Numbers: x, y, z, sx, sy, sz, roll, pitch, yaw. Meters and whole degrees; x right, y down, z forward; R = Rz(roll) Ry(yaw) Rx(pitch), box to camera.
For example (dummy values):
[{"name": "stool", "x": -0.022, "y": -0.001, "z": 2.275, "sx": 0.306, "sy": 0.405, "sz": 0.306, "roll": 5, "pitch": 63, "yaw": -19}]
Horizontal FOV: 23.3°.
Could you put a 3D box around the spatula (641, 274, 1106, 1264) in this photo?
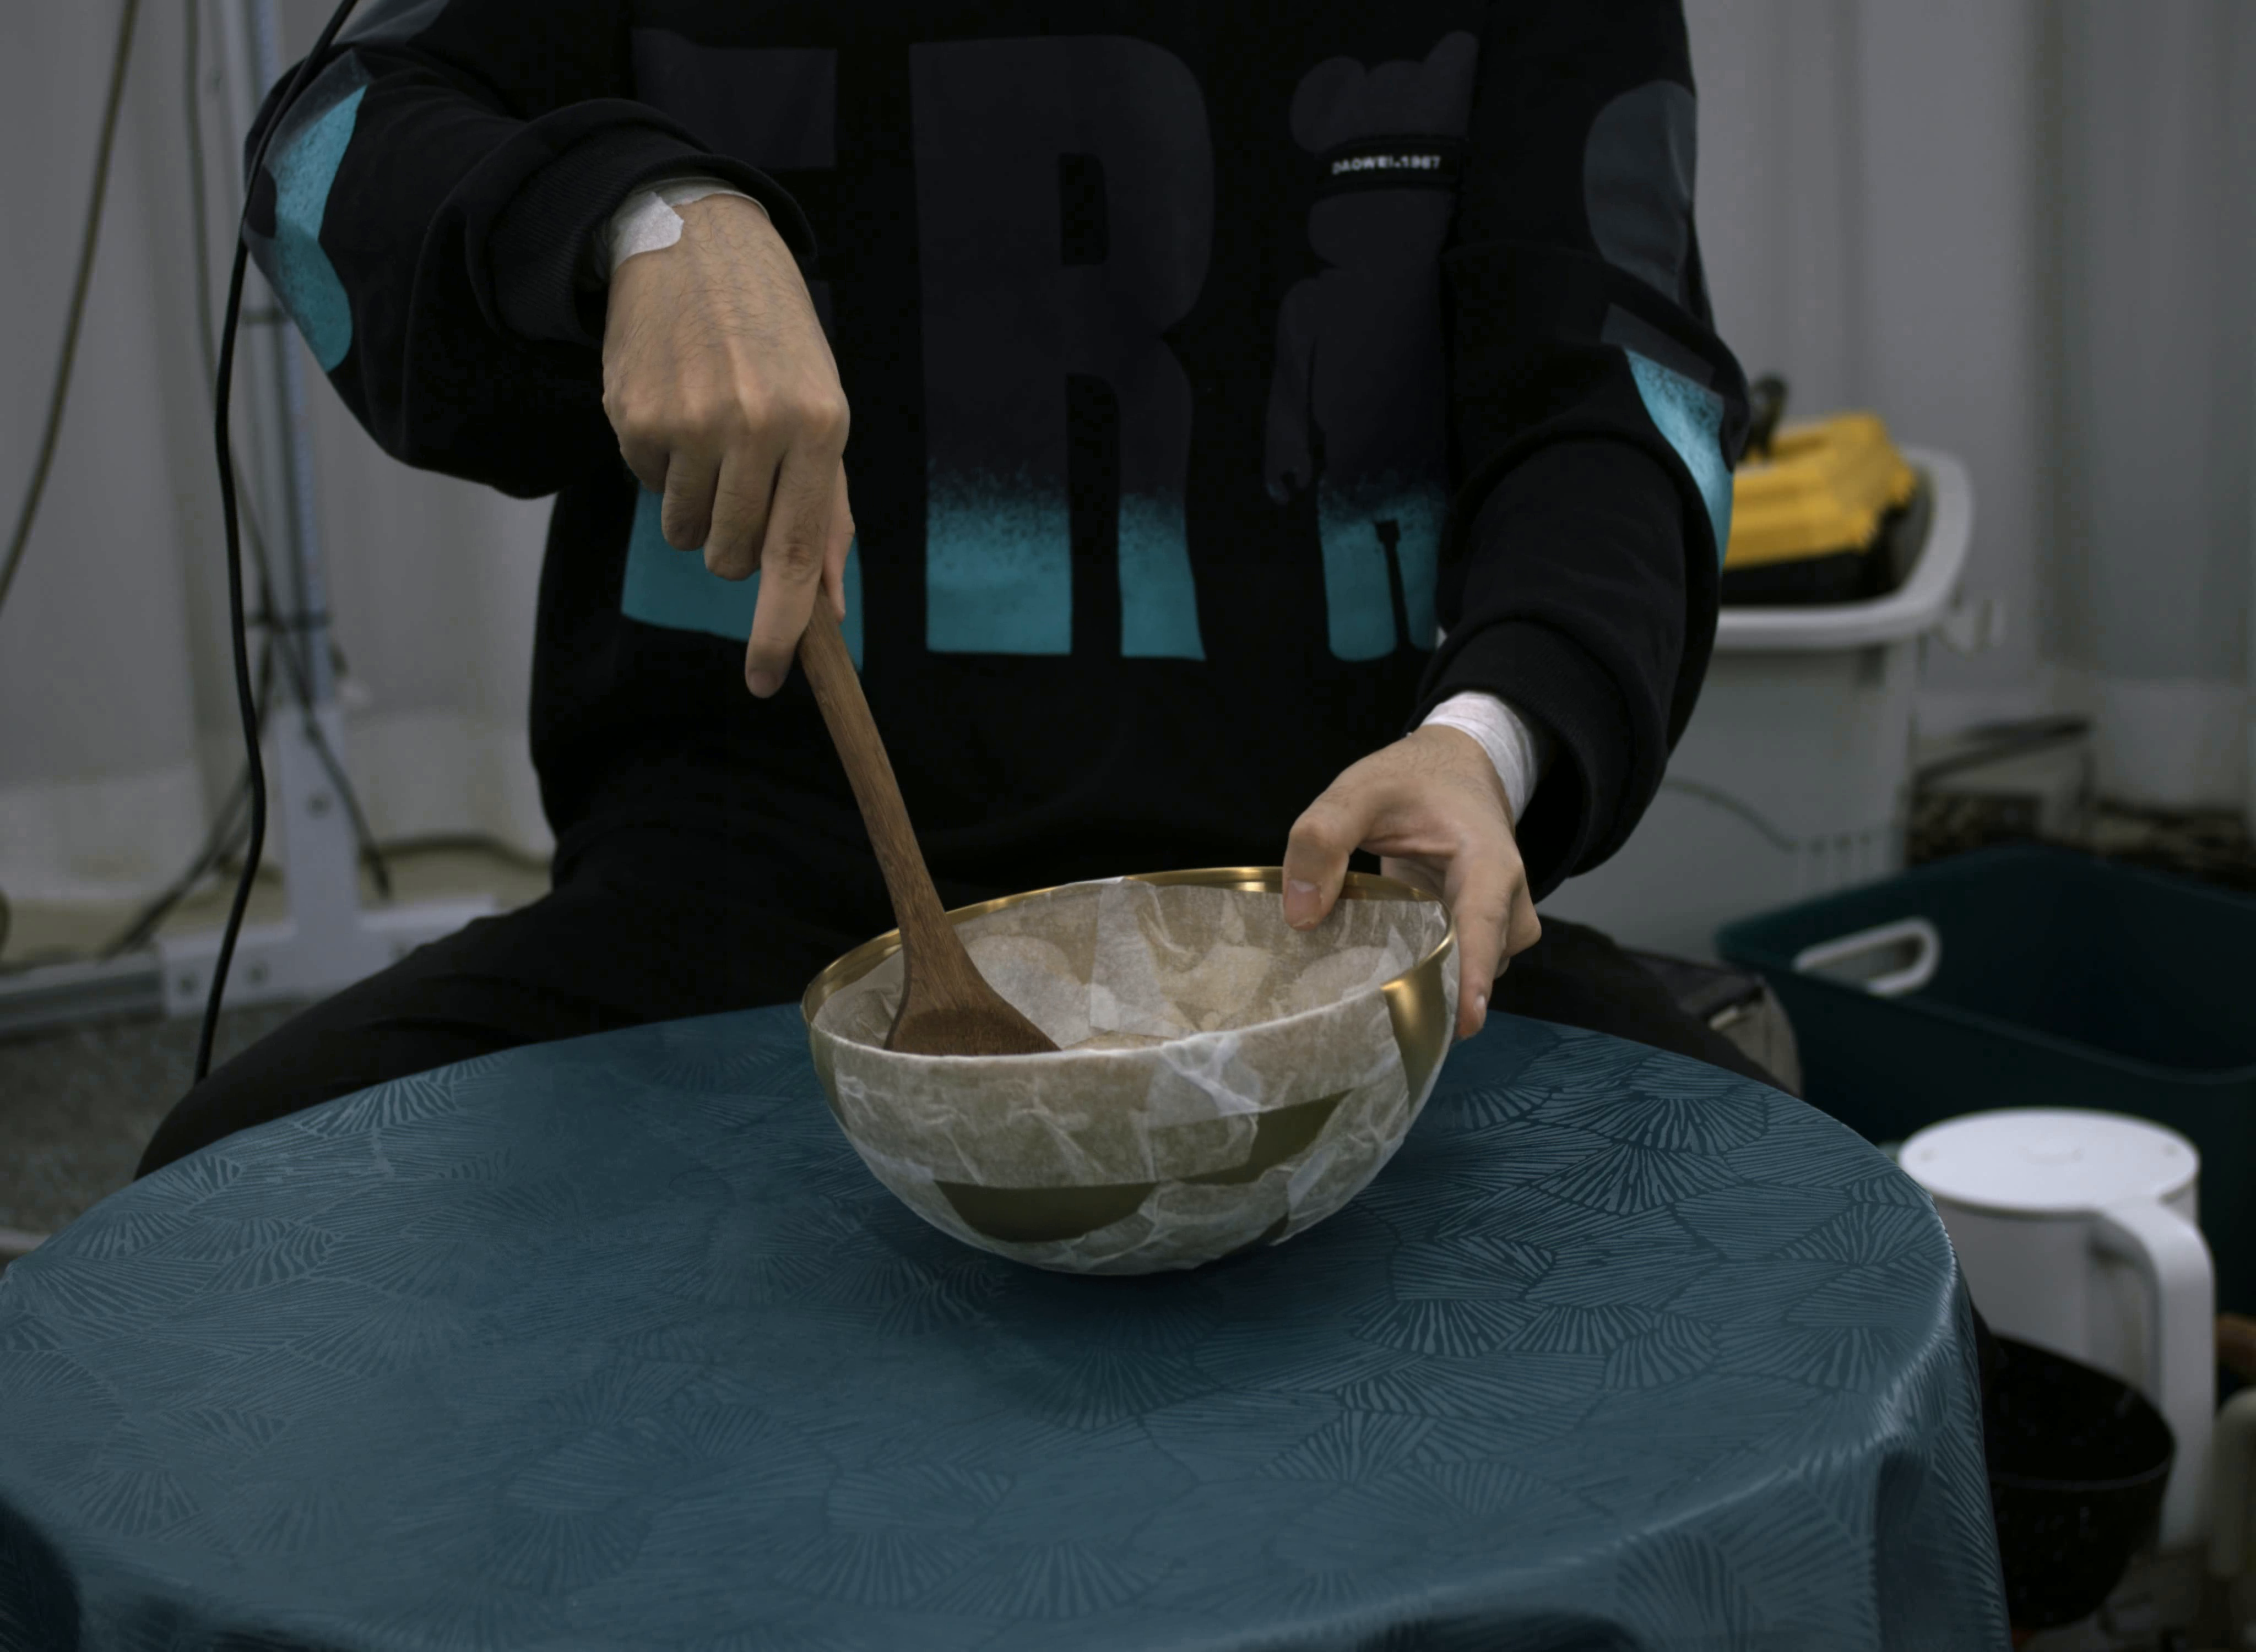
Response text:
[{"name": "spatula", "x": -0.085, "y": -0.027, "z": 1.718, "sx": 0.095, "sy": 0.391, "sz": 0.015, "roll": 7, "pitch": -41, "yaw": -43}]

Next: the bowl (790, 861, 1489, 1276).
[{"name": "bowl", "x": 0.008, "y": 0.081, "z": 1.653, "sx": 0.214, "sy": 0.094, "sz": 0.216, "roll": -8, "pitch": 12, "yaw": 1}]
